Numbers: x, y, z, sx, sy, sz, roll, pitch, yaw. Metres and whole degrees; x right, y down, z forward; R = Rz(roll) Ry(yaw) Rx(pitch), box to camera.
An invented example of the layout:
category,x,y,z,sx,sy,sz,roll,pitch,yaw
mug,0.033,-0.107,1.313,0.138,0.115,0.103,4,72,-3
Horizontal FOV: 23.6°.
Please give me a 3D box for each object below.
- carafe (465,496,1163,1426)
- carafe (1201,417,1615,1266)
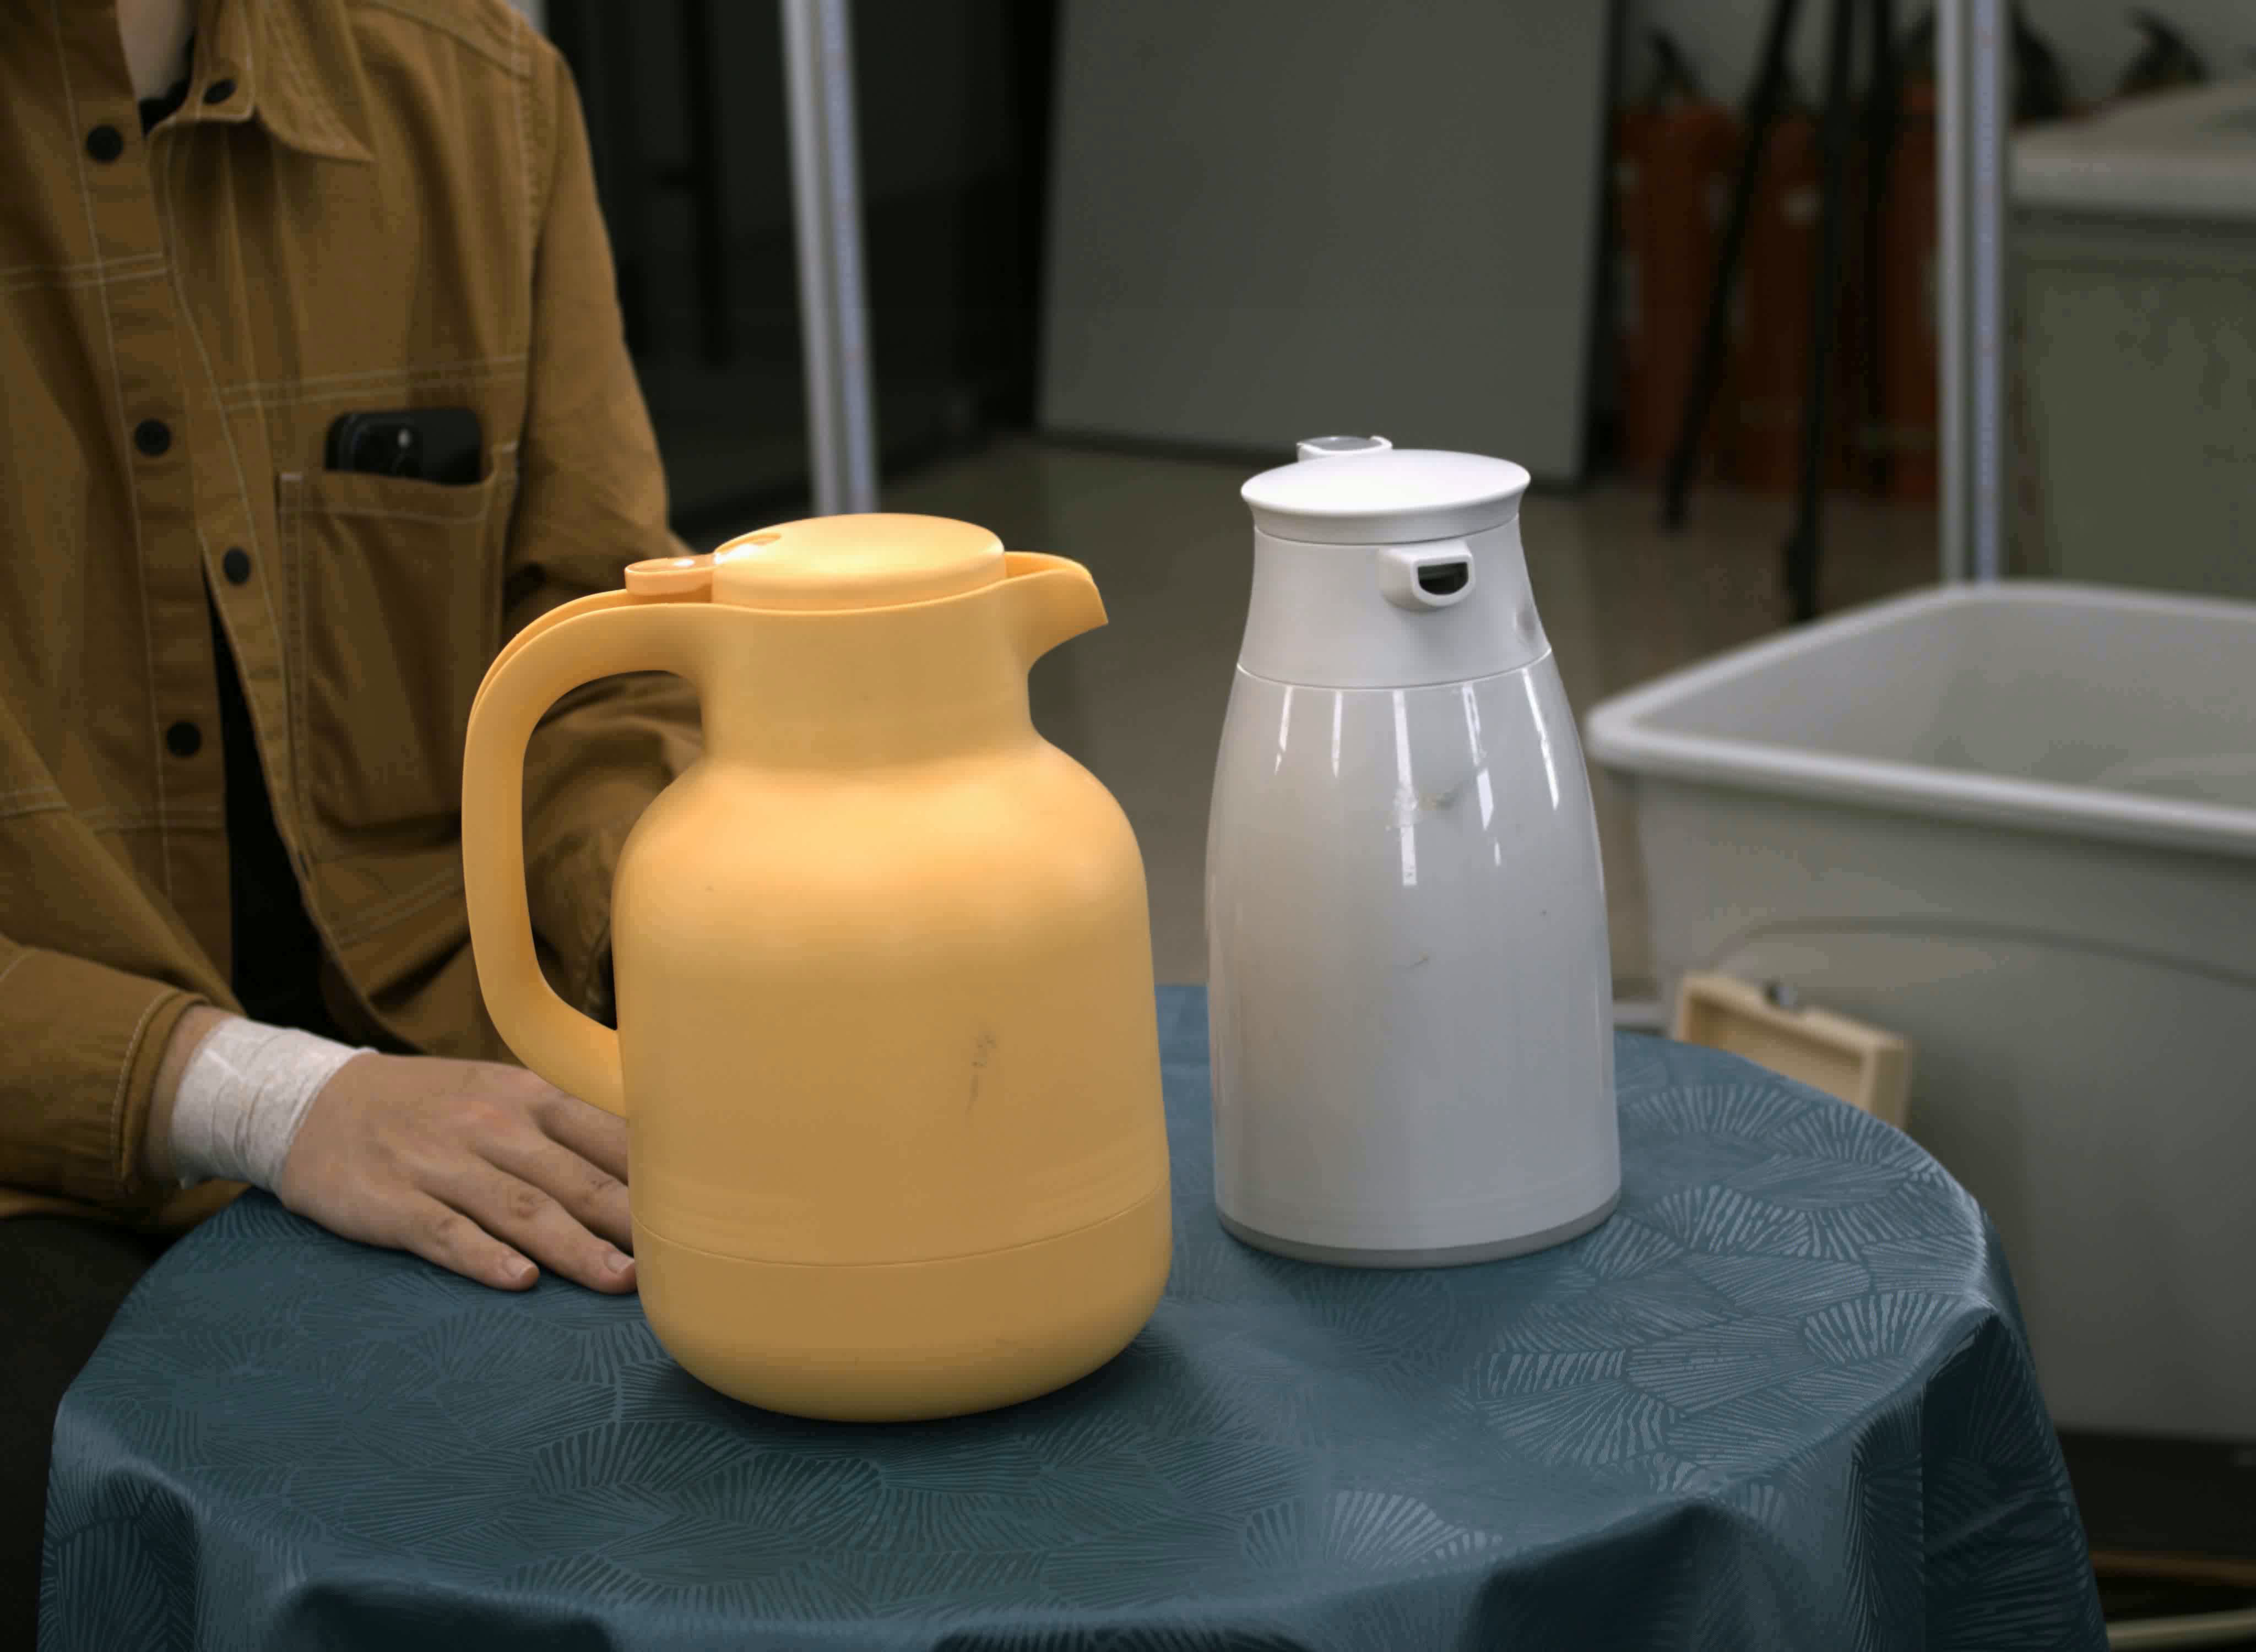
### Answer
category,x,y,z,sx,sy,sz,roll,pitch,yaw
carafe,-0.093,0.037,1.600,0.199,0.263,0.164,-3,11,-1
carafe,0.080,-0.003,1.729,0.130,0.251,0.169,-7,13,-12
